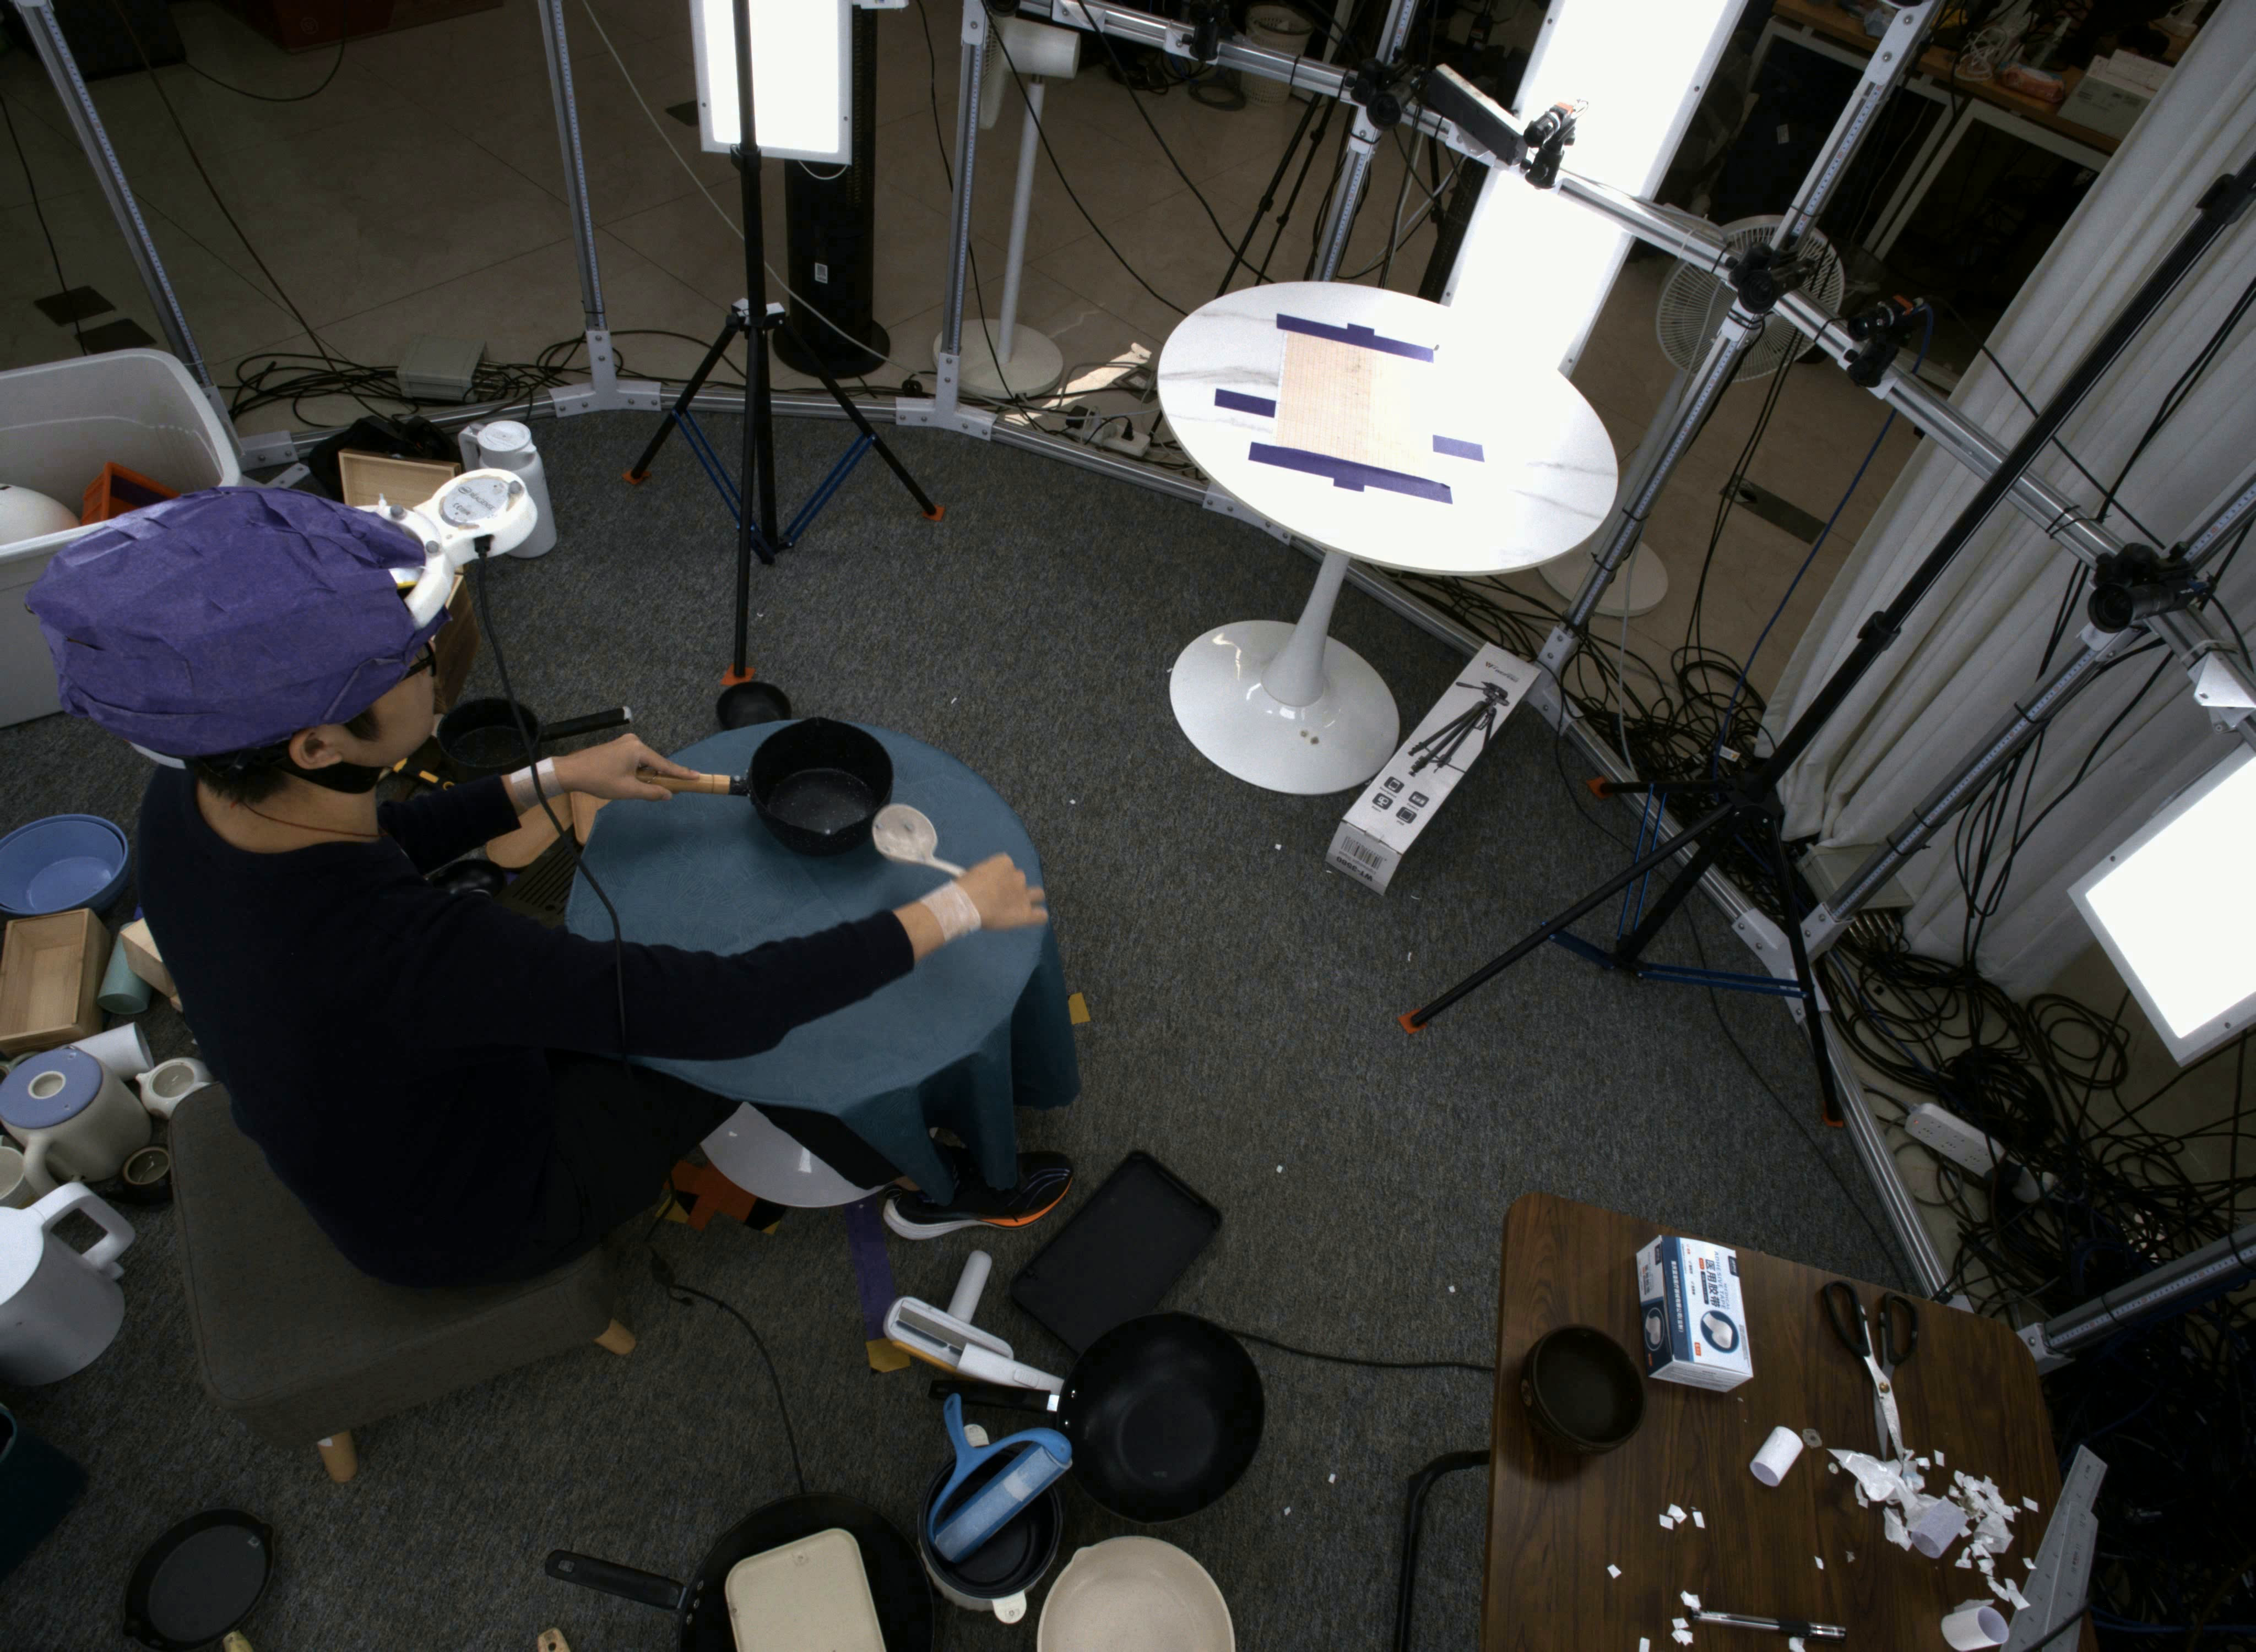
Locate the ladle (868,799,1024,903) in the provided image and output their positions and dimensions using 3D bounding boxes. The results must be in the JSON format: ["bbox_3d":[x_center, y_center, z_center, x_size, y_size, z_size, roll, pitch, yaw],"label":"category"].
[{"bbox_3d":[-0.211,0.025,1.551,0.091,0.071,0.264,-7,17,-45],"label":"ladle"}]

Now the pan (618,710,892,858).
[{"bbox_3d":[-0.477,-0.046,1.664,0.344,0.110,0.203,-4,56,-20],"label":"pan"}]
